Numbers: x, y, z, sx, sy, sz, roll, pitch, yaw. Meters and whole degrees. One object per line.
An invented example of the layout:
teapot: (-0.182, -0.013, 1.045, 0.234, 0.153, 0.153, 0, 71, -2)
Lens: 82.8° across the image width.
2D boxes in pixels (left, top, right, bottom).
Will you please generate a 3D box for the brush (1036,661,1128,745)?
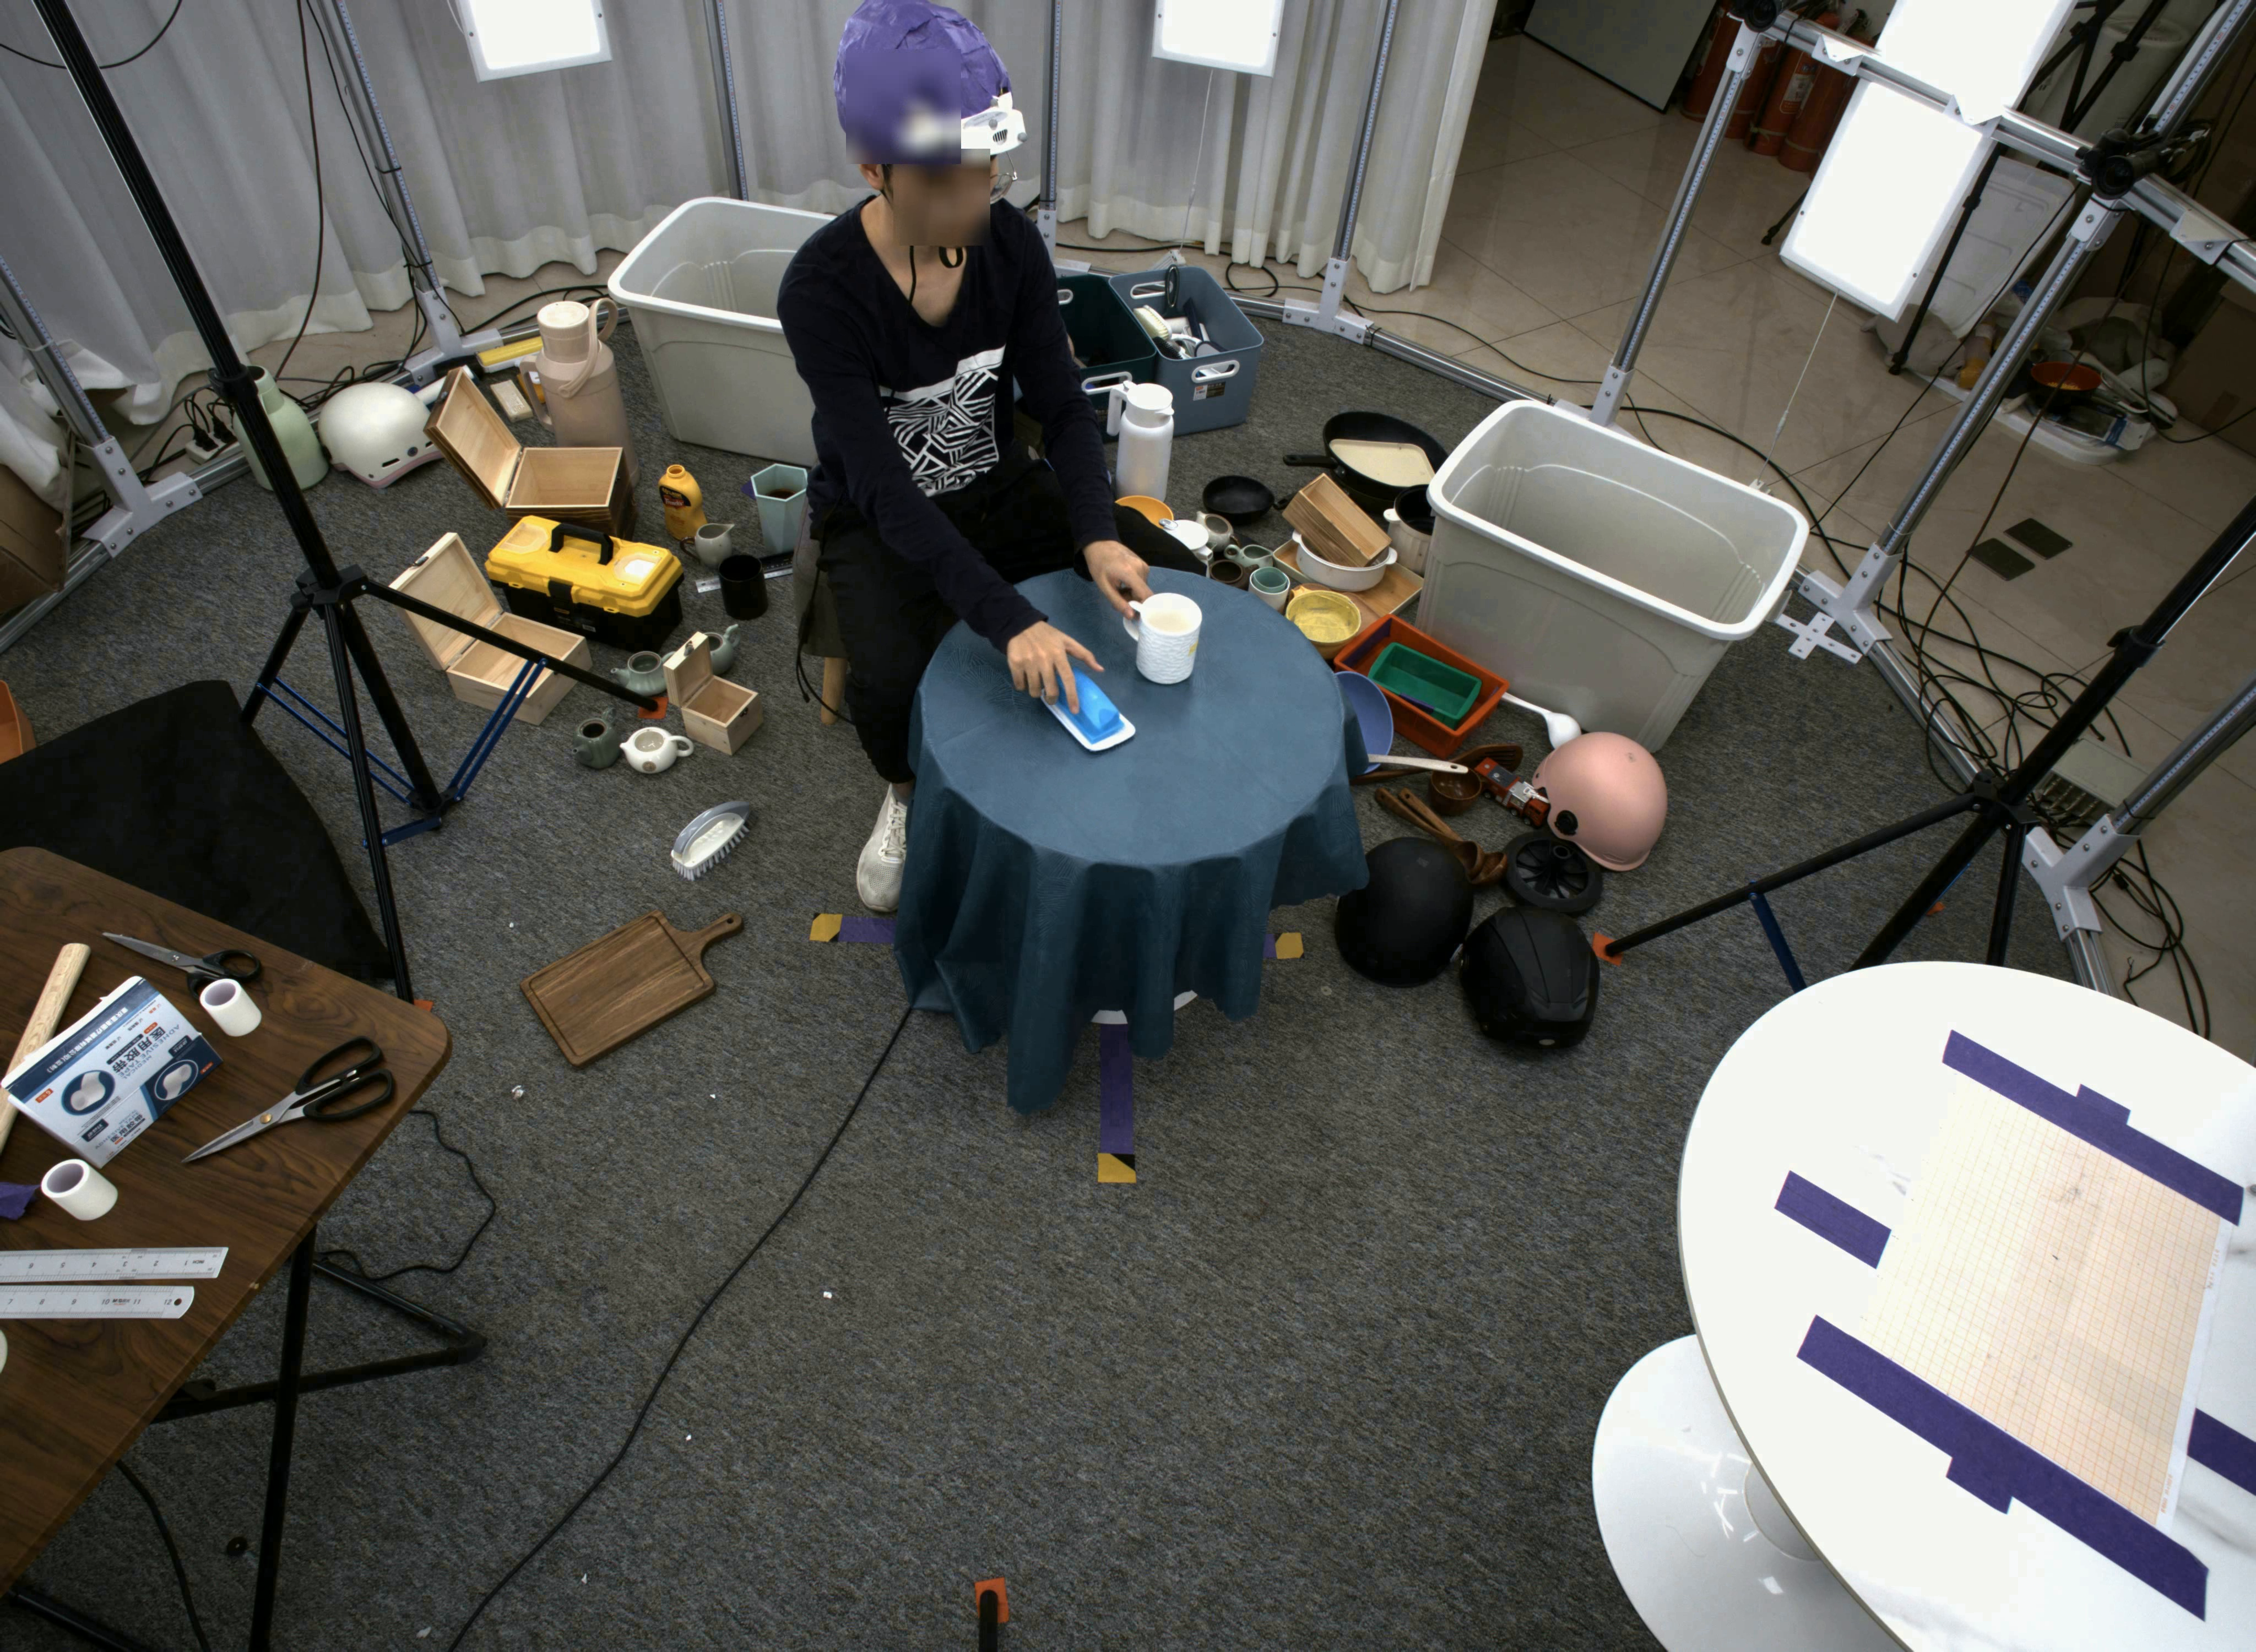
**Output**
brush: (-0.061, -0.177, 1.778, 0.084, 0.054, 0.147, -22, 56, -25)

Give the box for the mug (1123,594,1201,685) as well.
mug: (0.043, -0.273, 1.840, 0.119, 0.099, 0.086, 29, 55, 19)
